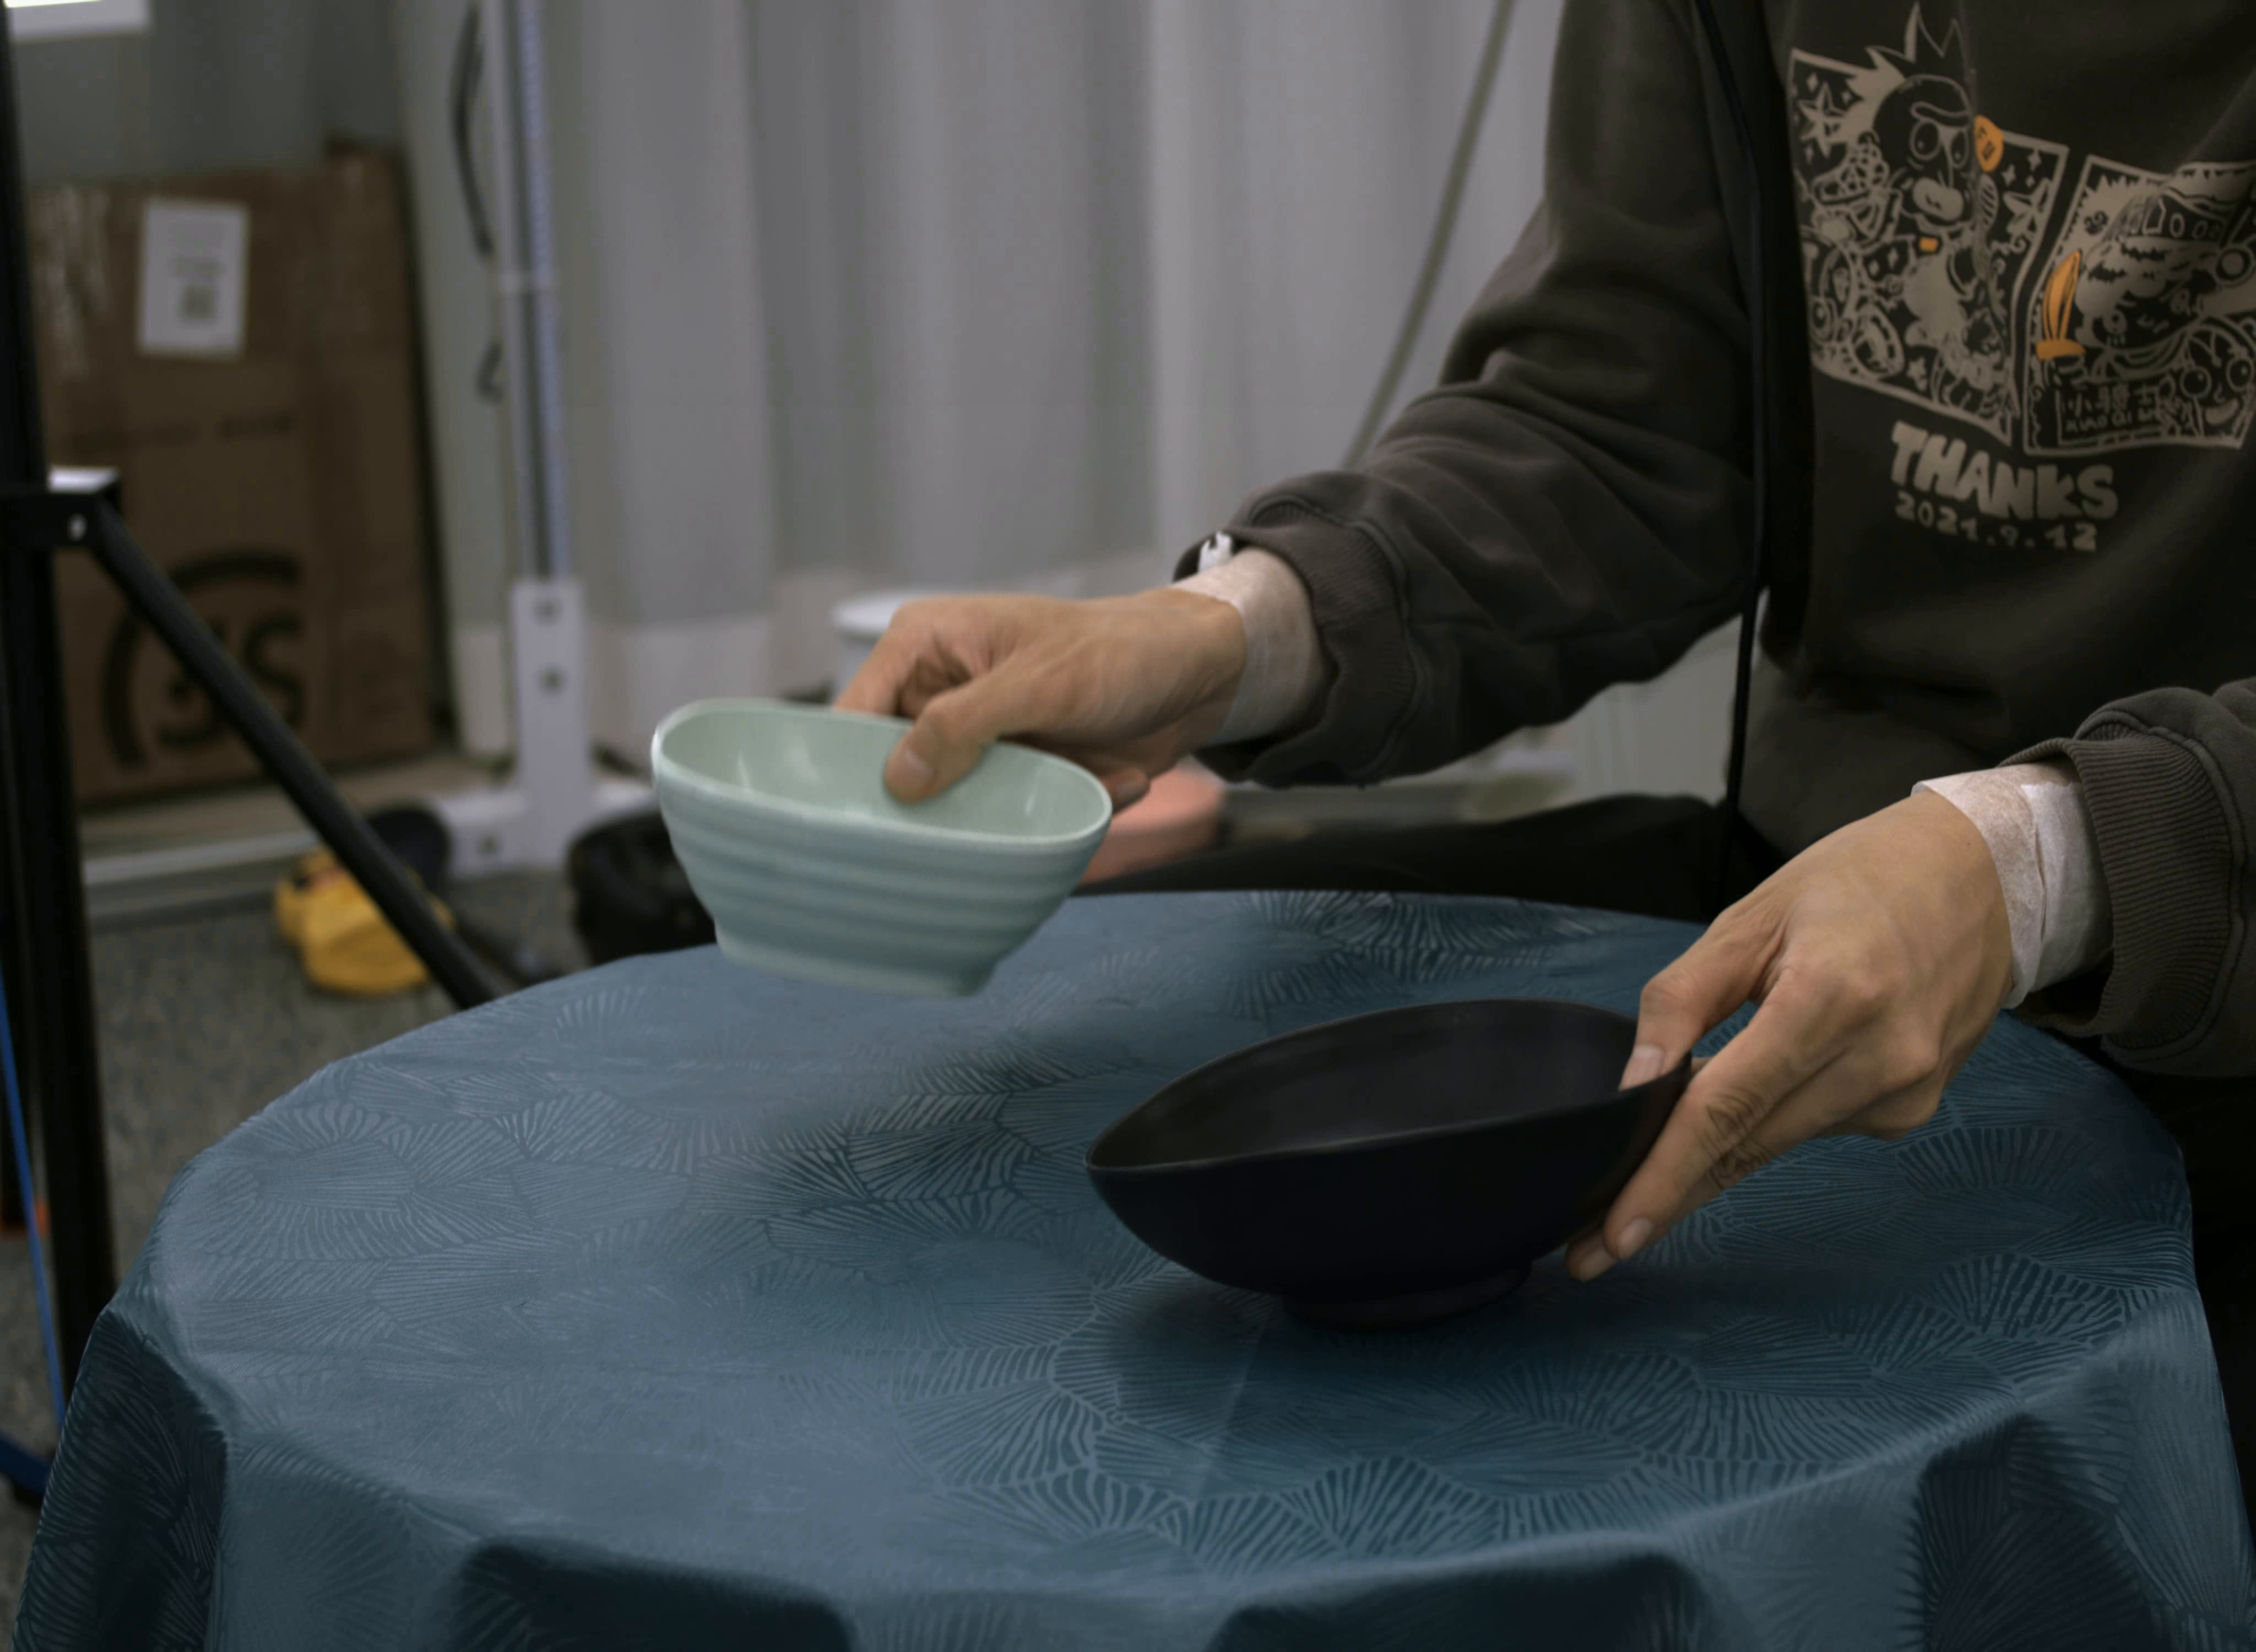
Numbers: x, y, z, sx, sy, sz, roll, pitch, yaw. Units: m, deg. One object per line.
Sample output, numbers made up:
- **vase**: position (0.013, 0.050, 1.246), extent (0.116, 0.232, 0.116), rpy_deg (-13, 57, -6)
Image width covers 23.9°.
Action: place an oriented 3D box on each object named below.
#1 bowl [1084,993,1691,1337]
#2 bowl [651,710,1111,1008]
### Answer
- **bowl**: position (0.074, 0.099, 1.453), extent (0.170, 0.066, 0.137), rpy_deg (-9, 12, 7)
- **bowl**: position (-0.077, 0.013, 1.602), extent (0.150, 0.059, 0.152), rpy_deg (7, 15, -3)
